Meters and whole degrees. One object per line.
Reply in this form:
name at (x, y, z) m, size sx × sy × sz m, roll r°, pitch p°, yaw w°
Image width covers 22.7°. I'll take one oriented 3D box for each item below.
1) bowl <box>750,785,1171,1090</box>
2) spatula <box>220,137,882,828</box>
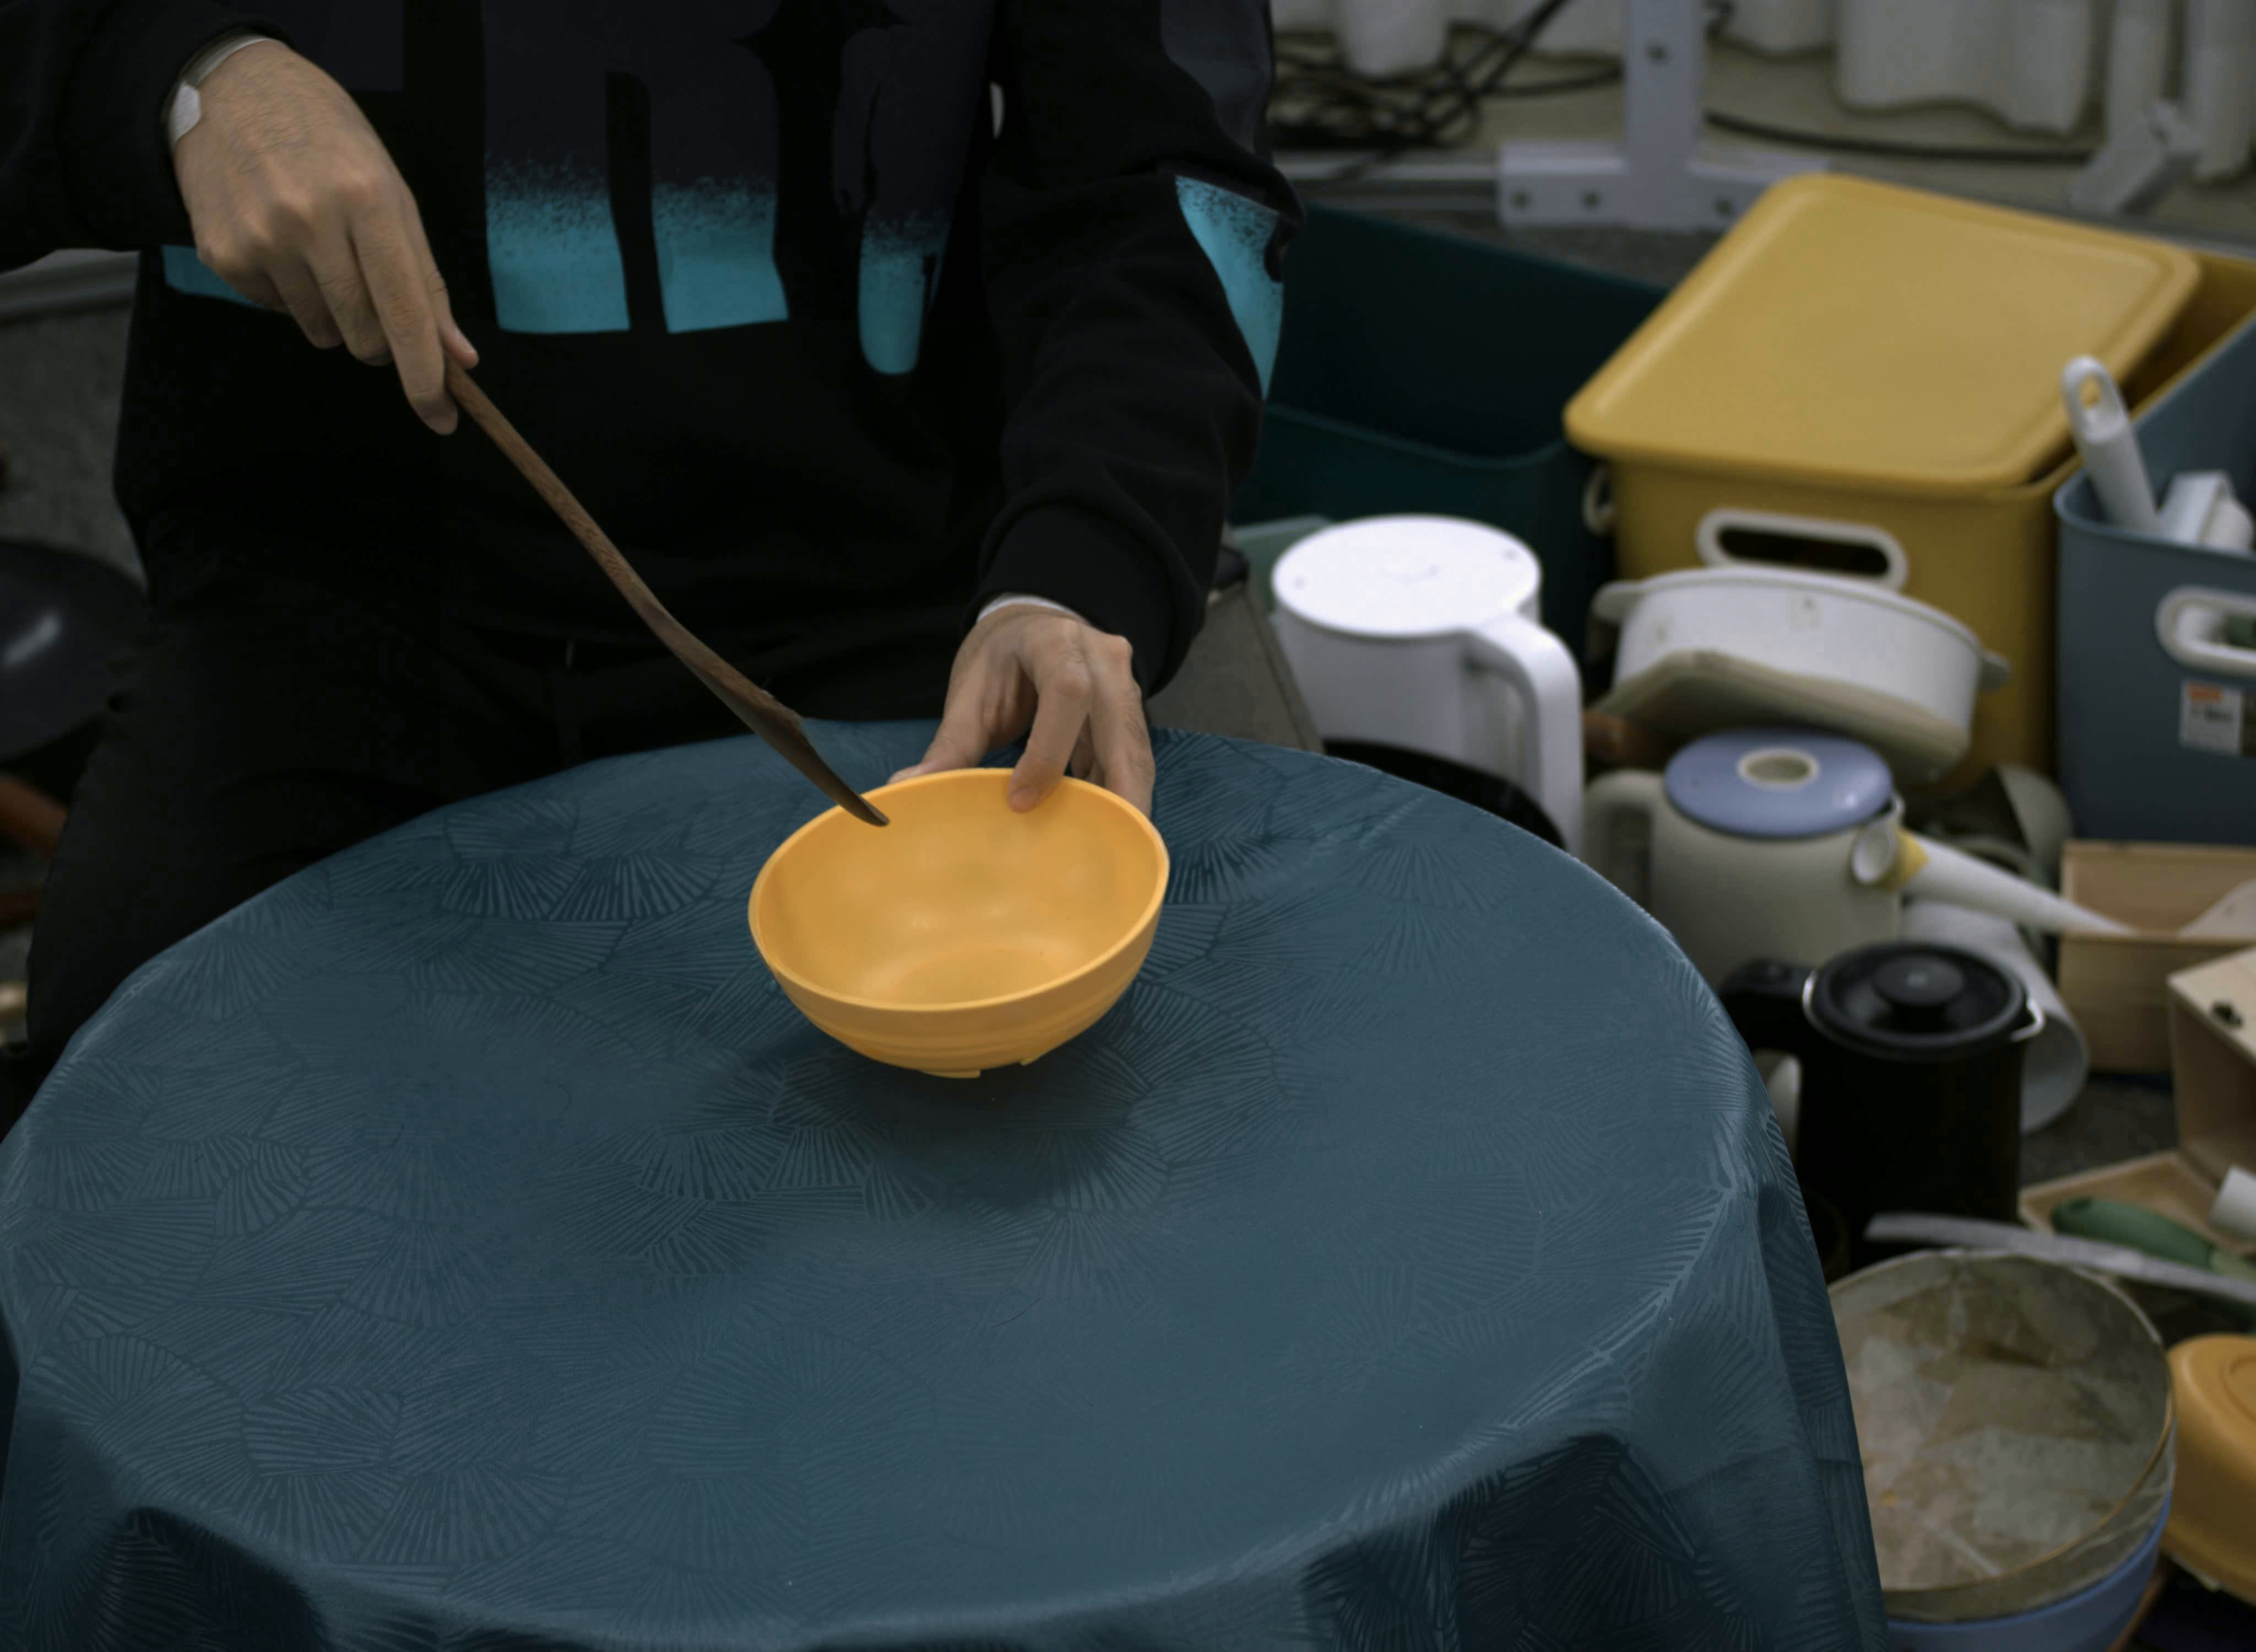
bowl at (-0.055, 0.048, 1.929) m, size 0.144 × 0.059 × 0.148 m, roll -3°, pitch 31°, yaw 2°
spatula at (-0.208, -0.127, 1.946) m, size 0.016 × 0.095 × 0.389 m, roll -43°, pitch 59°, yaw -1°
